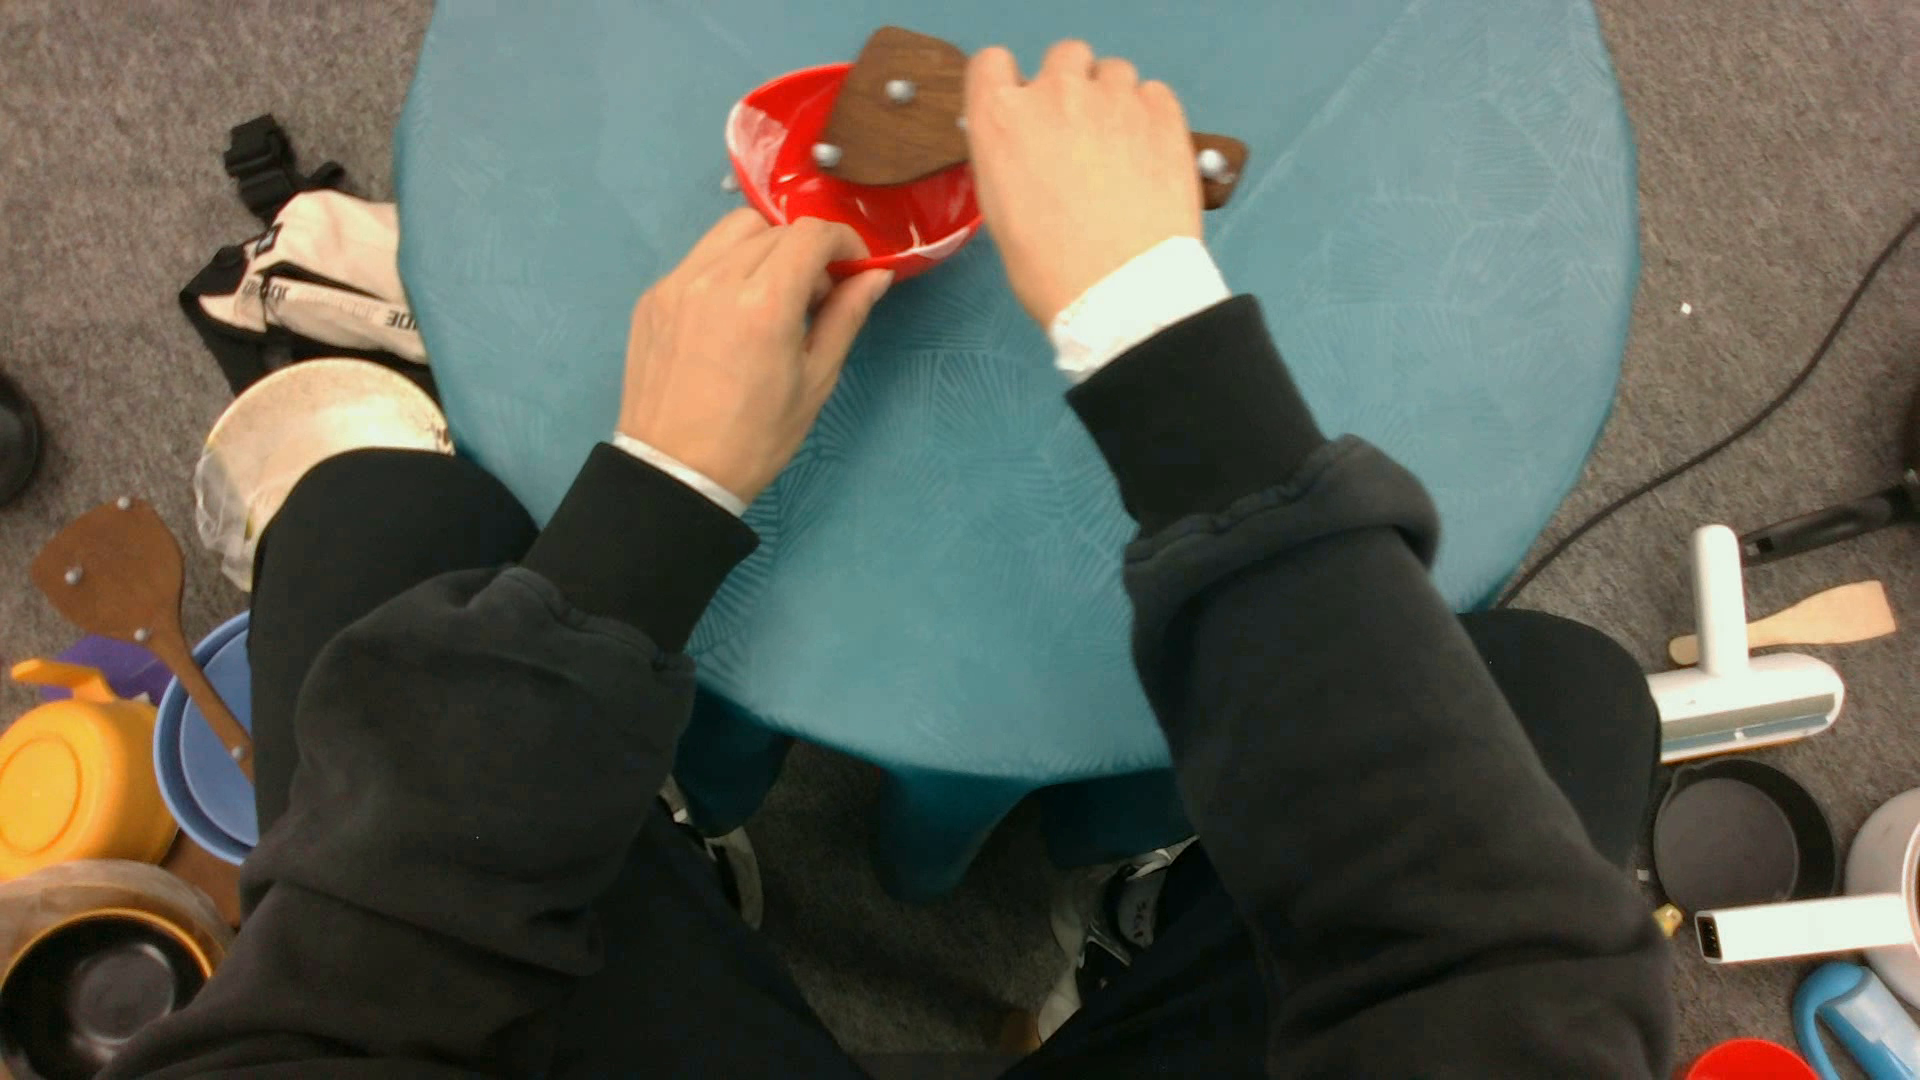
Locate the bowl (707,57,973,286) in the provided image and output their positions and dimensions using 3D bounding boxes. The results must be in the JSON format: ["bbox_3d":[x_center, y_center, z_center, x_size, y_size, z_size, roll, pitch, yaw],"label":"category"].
[{"bbox_3d":[-0.057,-0.158,0.620,0.119,0.051,0.119,7,59,-12],"label":"bowl"}]

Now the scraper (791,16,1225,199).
[{"bbox_3d":[0.015,-0.171,0.566,0.211,0.011,0.076,23,86,35],"label":"scraper"}]
